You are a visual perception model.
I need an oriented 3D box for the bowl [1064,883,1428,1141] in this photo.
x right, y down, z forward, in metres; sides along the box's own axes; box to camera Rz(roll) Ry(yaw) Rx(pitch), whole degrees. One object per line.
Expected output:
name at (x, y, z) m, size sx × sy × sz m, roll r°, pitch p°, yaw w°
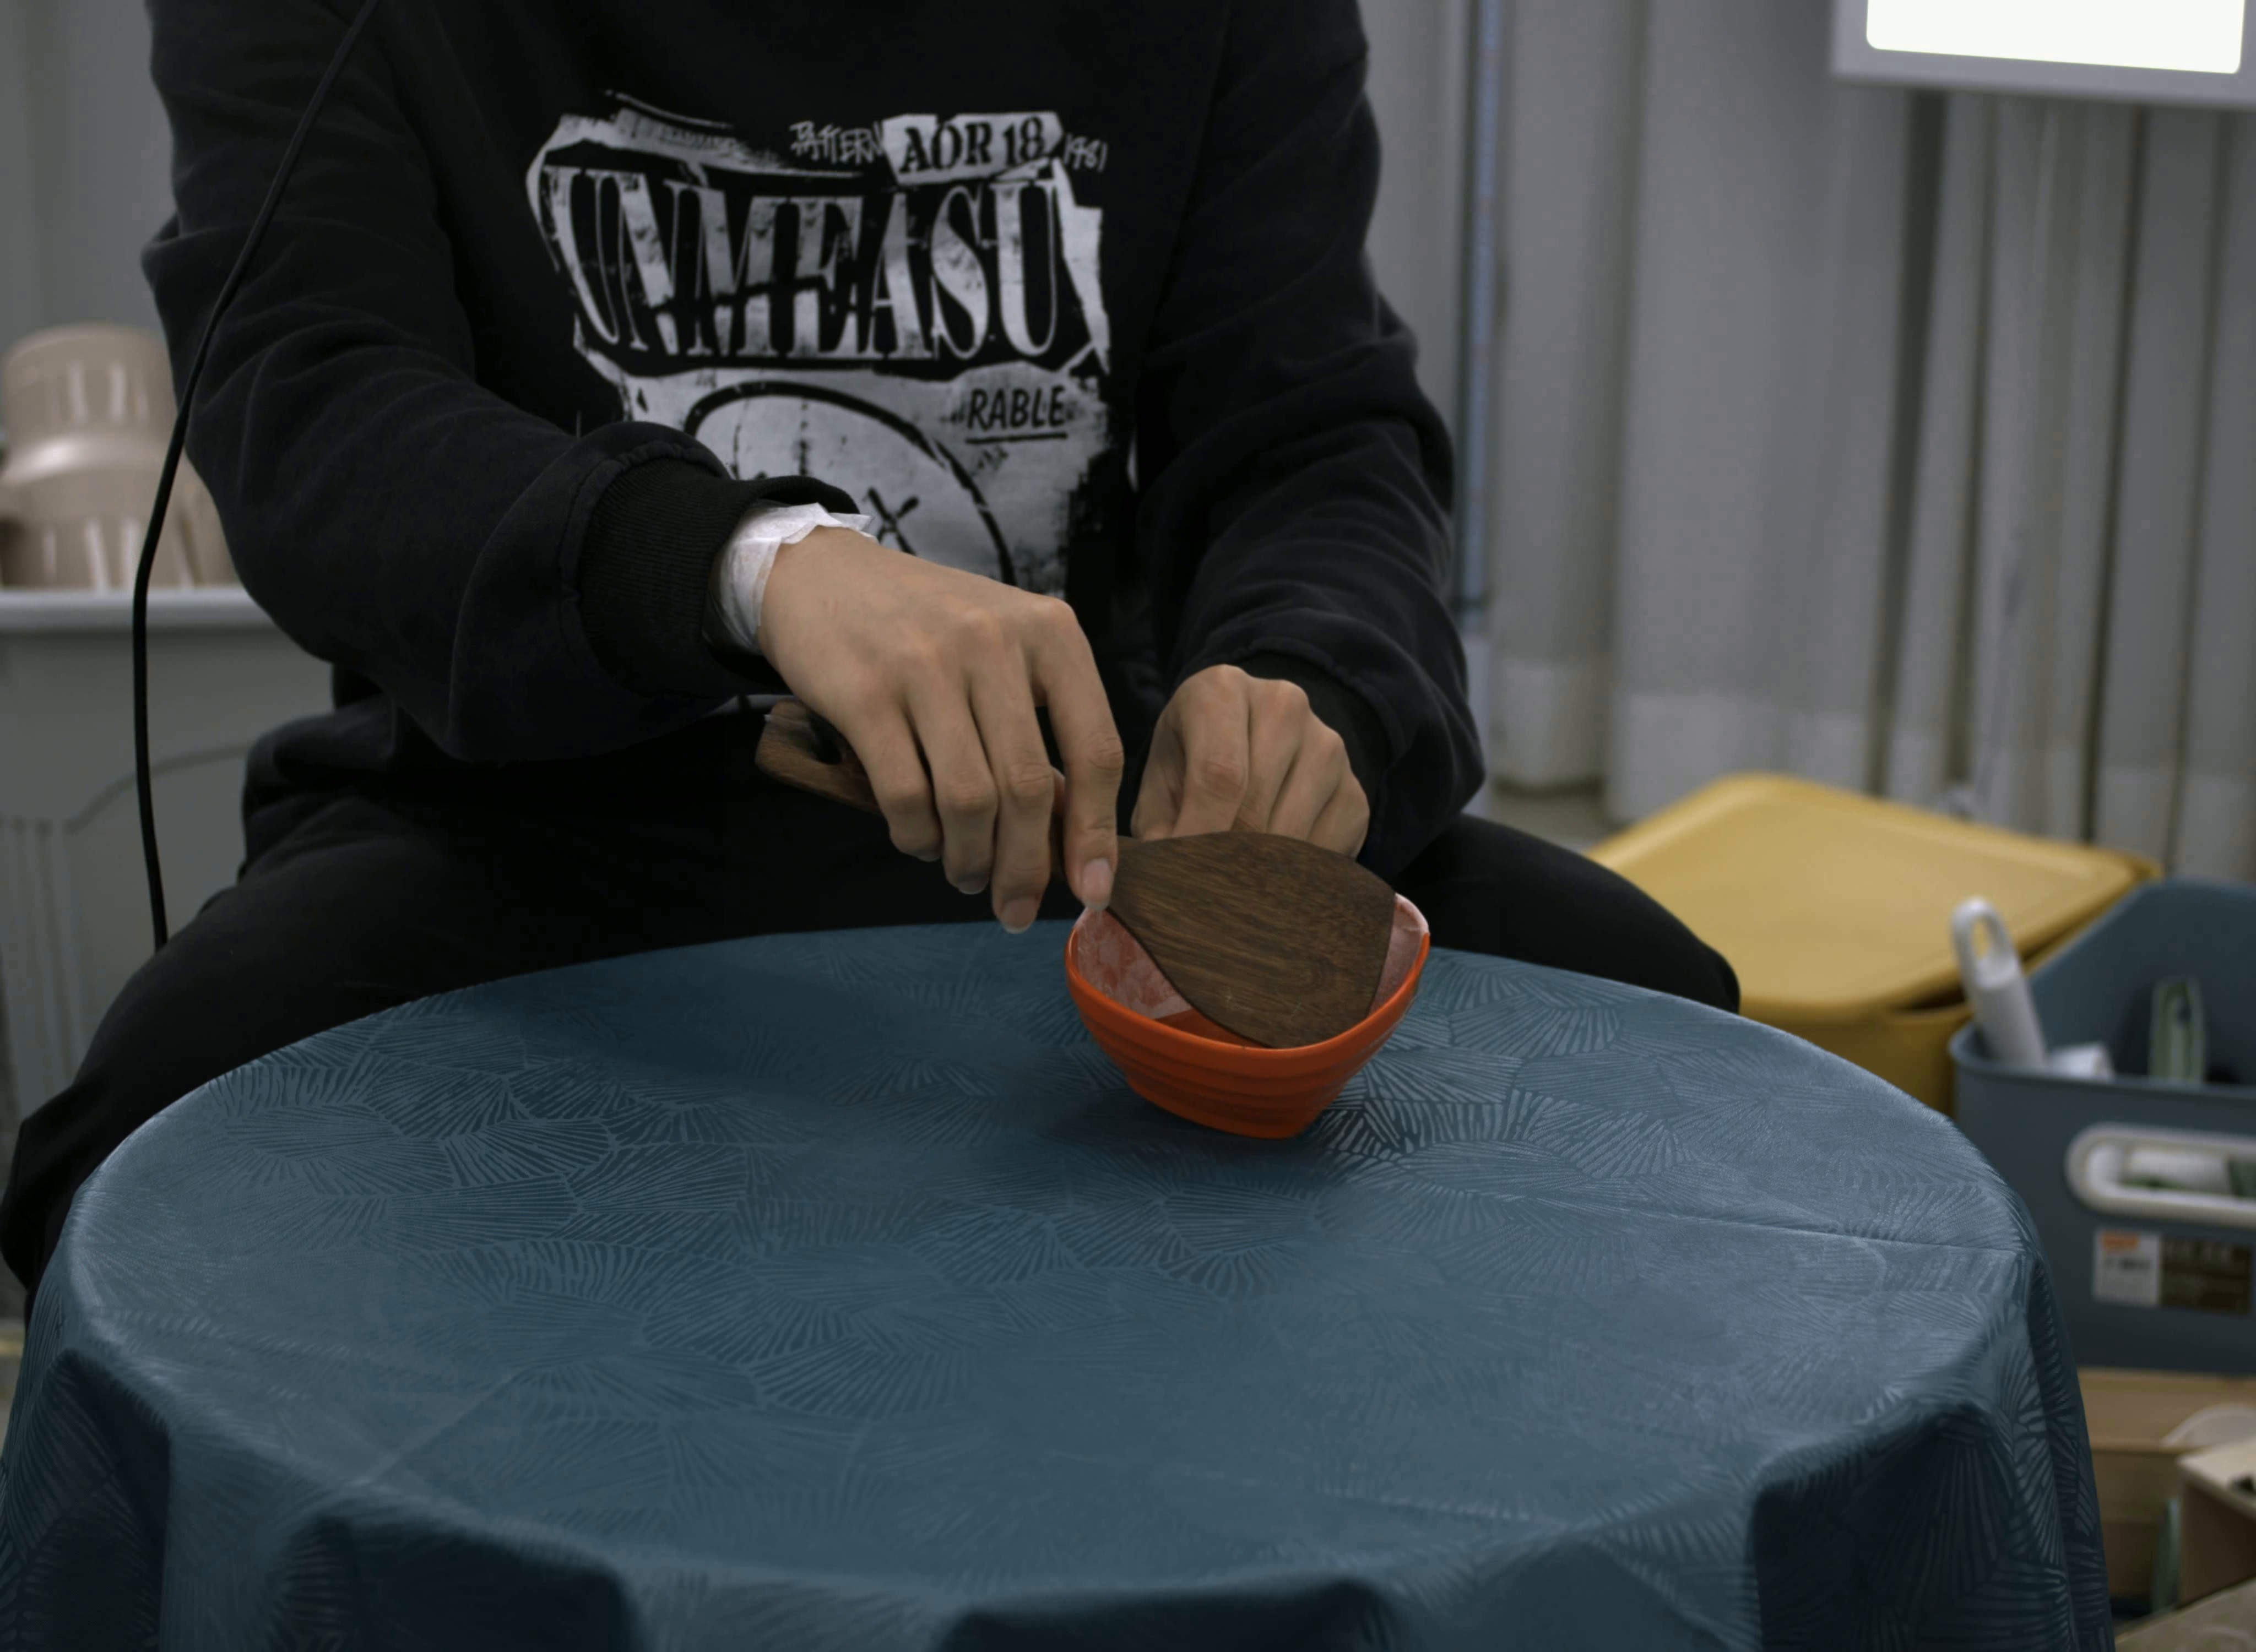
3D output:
bowl at (0.038, 0.058, 1.693) m, size 0.118 × 0.052 × 0.118 m, roll 2°, pitch 36°, yaw -1°

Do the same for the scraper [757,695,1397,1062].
scraper at (-0.017, 0.008, 1.657) m, size 0.211 × 0.075 × 0.011 m, roll 23°, pitch -26°, yaw -8°
